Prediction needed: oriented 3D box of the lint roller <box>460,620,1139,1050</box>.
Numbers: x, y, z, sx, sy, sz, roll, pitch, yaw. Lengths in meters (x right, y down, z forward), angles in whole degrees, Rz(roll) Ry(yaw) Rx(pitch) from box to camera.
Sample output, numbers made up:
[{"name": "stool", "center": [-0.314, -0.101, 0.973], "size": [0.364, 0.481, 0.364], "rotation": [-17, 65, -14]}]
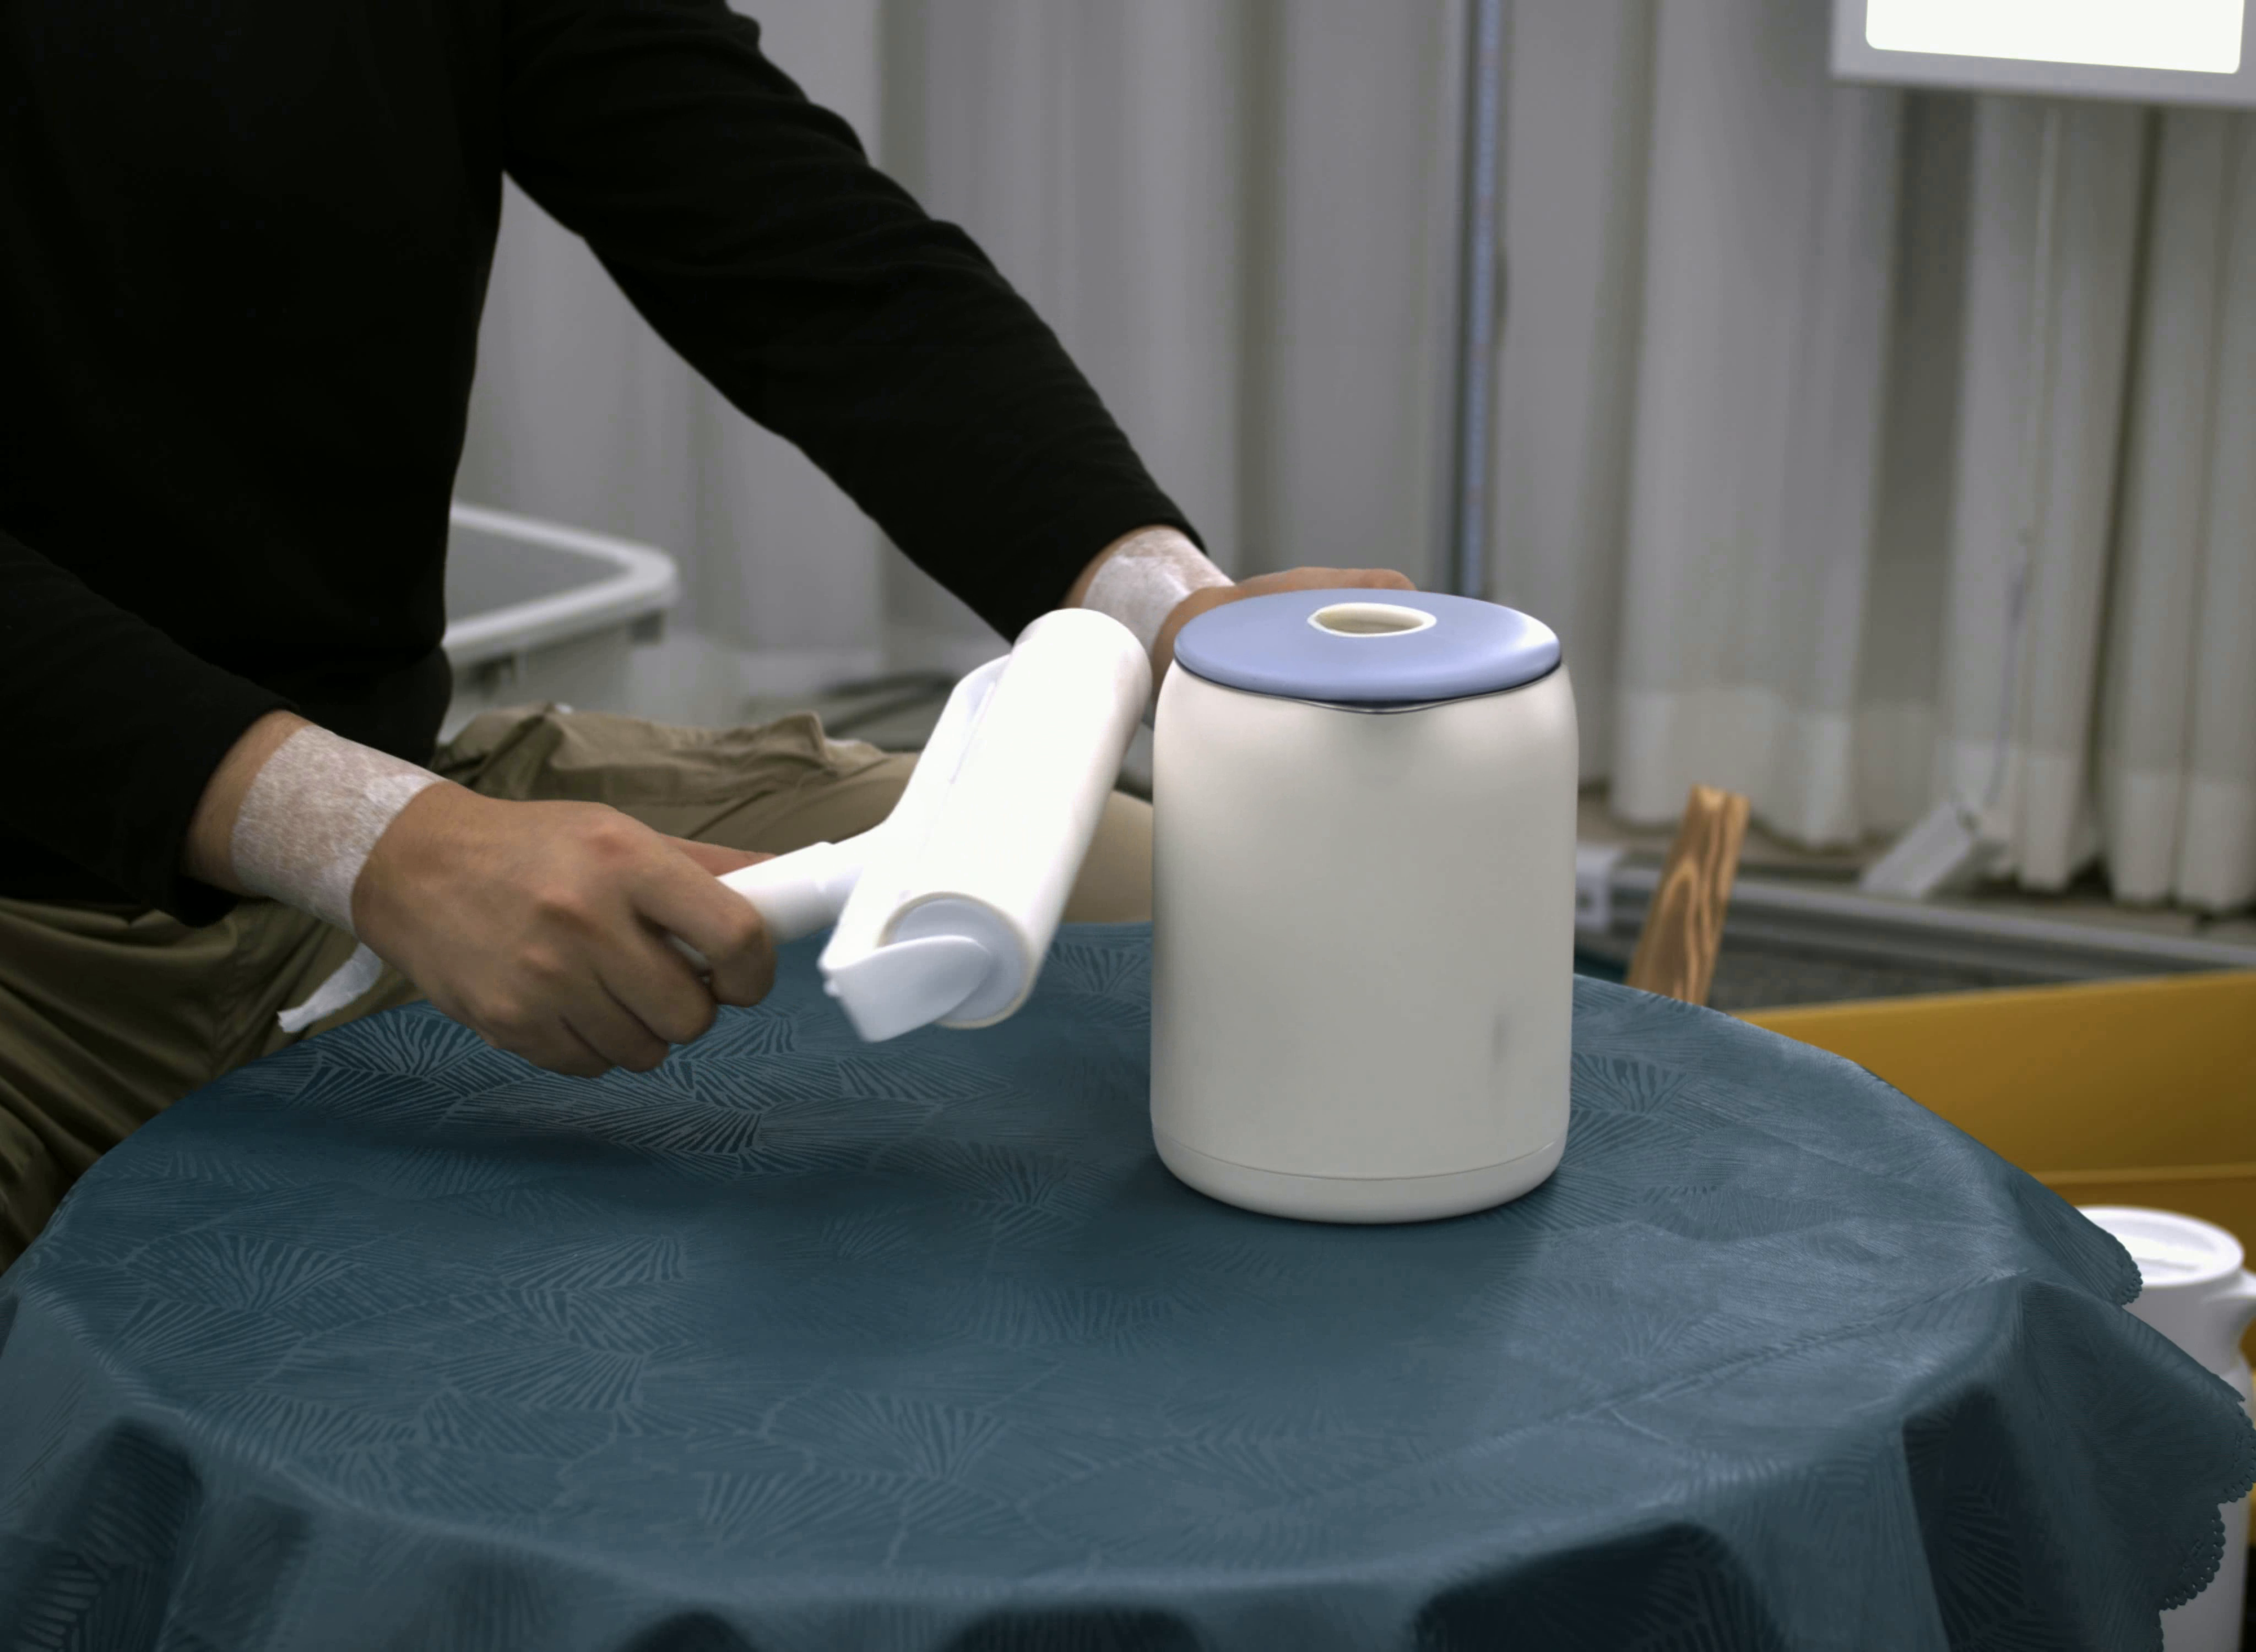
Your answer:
[{"name": "lint roller", "center": [-0.112, 0.021, 1.636], "size": [0.224, 0.049, 0.201], "rotation": [-17, 23, 17]}]

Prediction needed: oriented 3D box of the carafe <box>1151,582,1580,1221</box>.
[{"name": "carafe", "center": [0.072, 0.016, 1.646], "size": [0.132, 0.184, 0.190], "rotation": [0, 14, -2]}]
